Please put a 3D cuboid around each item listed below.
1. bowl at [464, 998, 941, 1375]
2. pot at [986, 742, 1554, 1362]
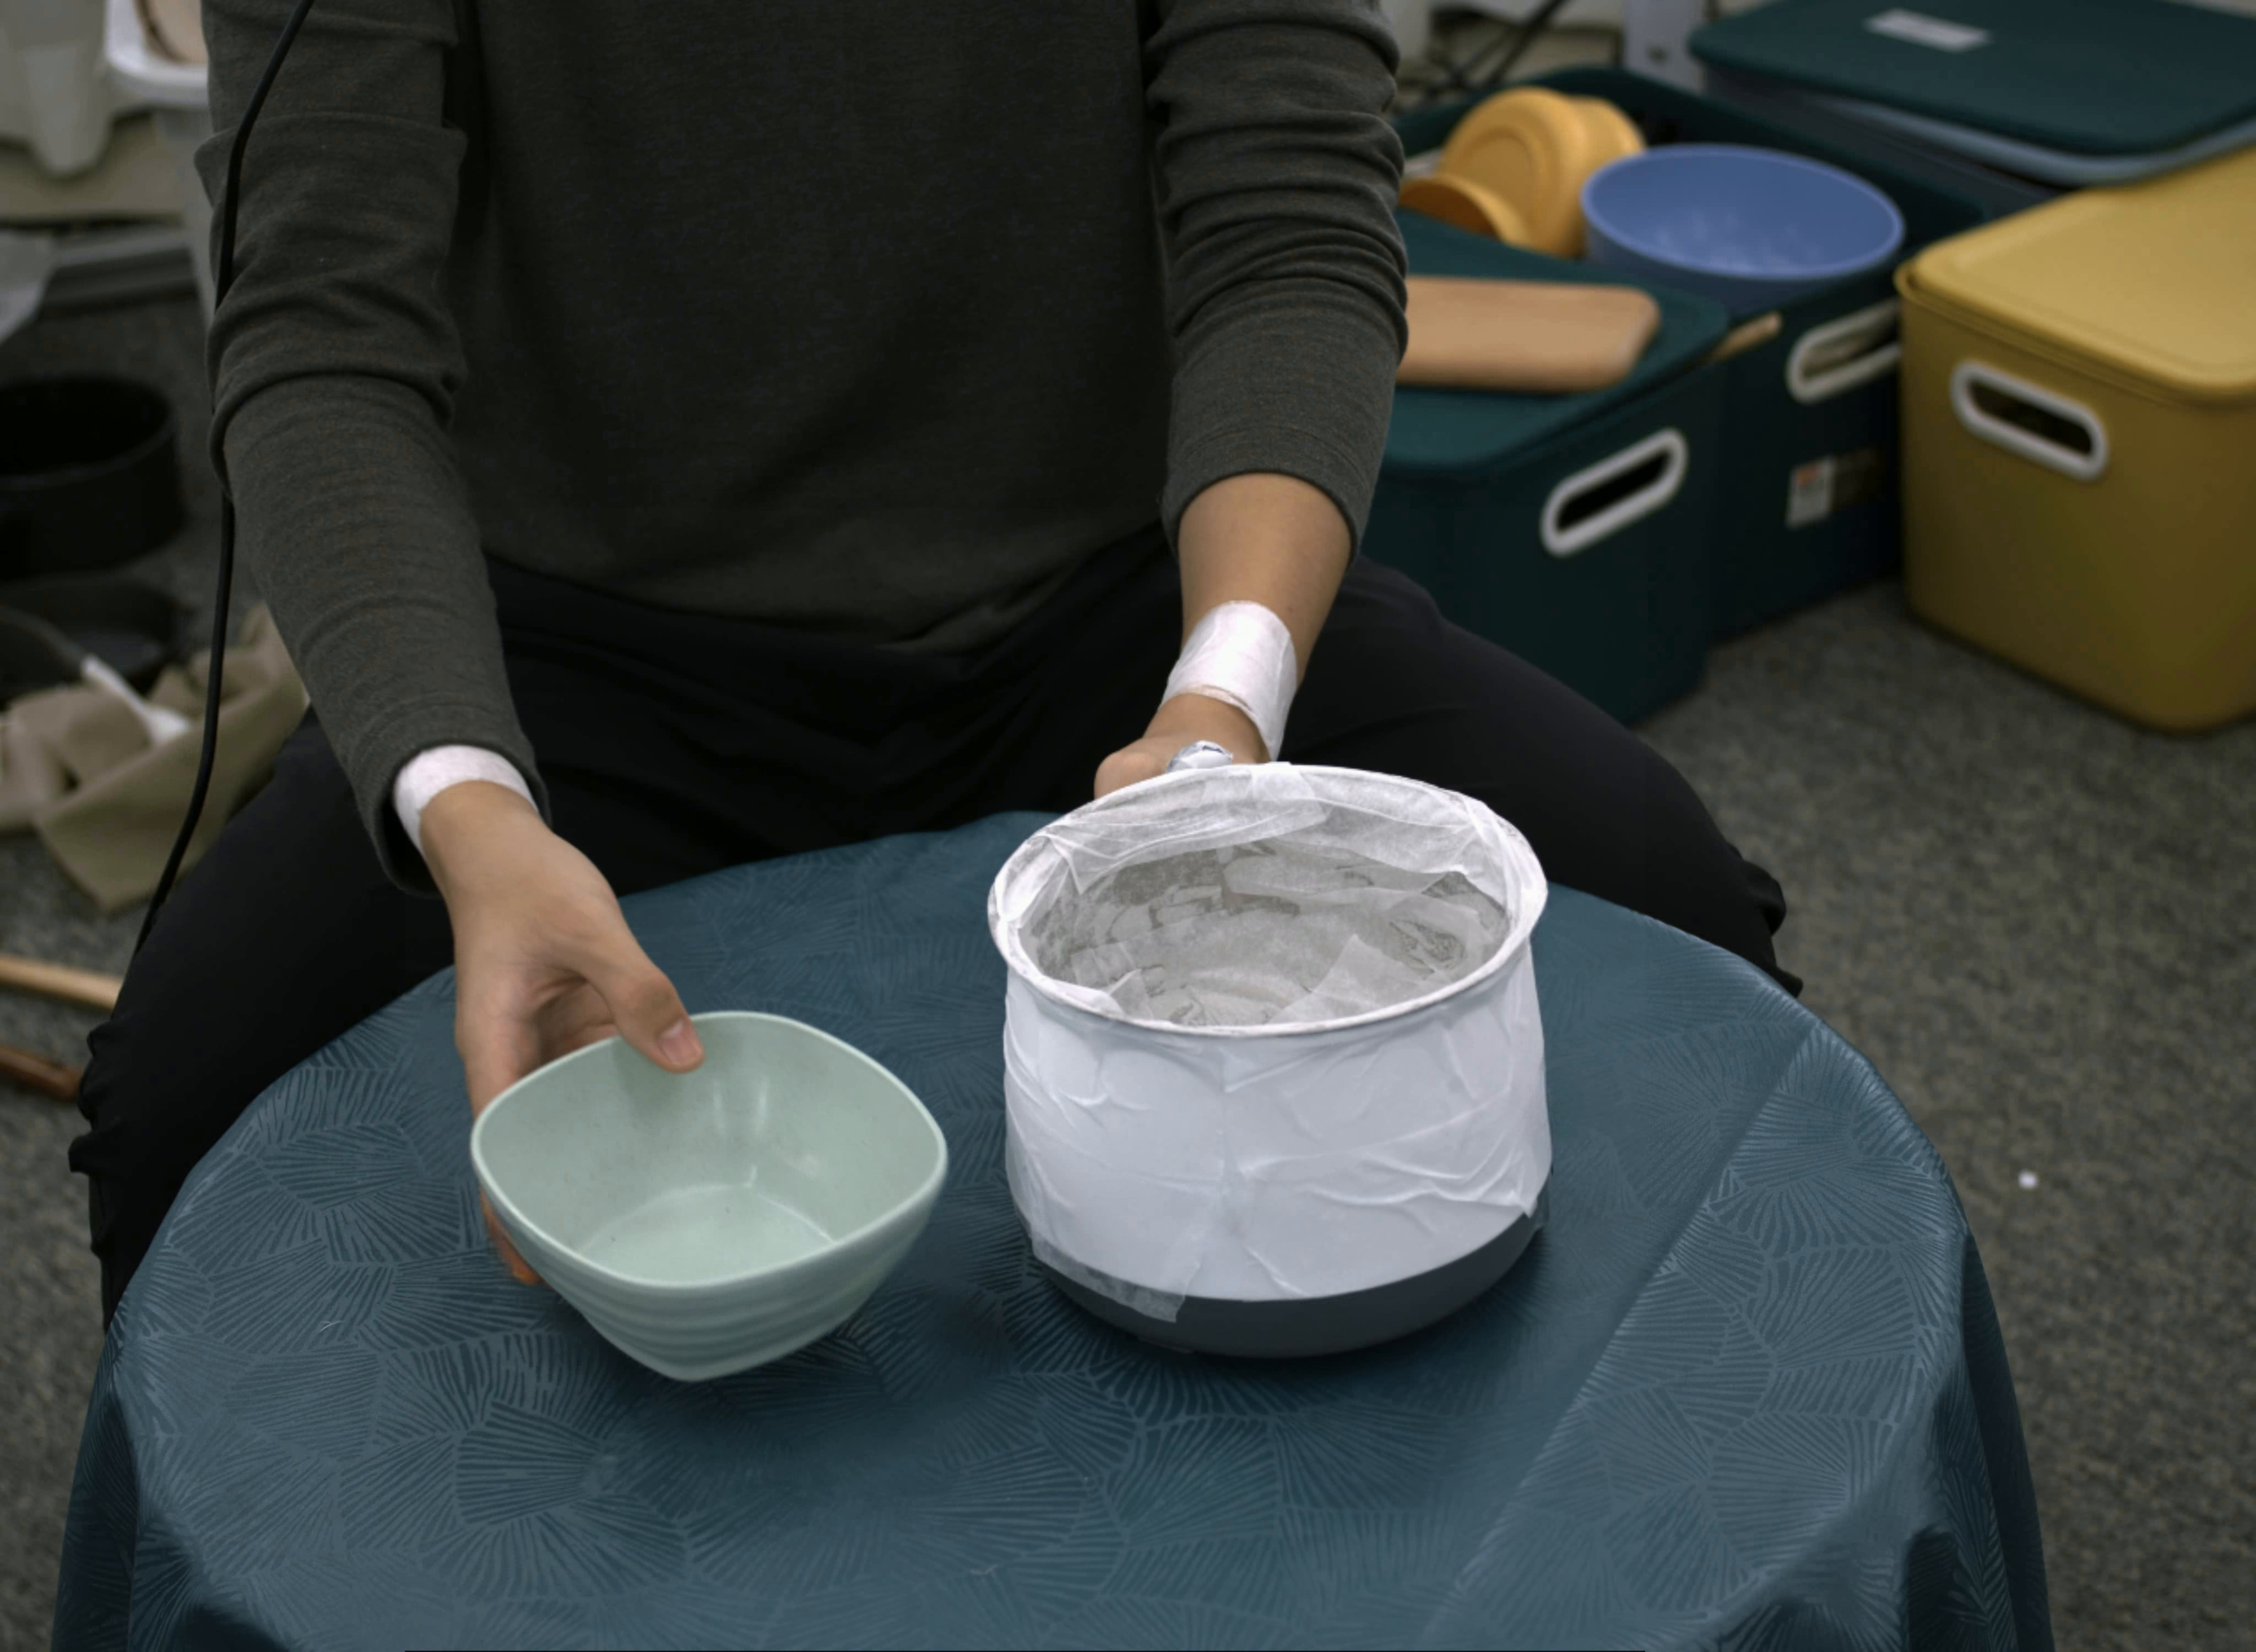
[{"bbox_3d":[-0.133,0.121,1.772,0.151,0.058,0.154,1,32,0],"label":"bowl"},{"bbox_3d":[0.041,0.065,1.822,0.178,0.135,0.236,-8,27,-9],"label":"pot"}]
